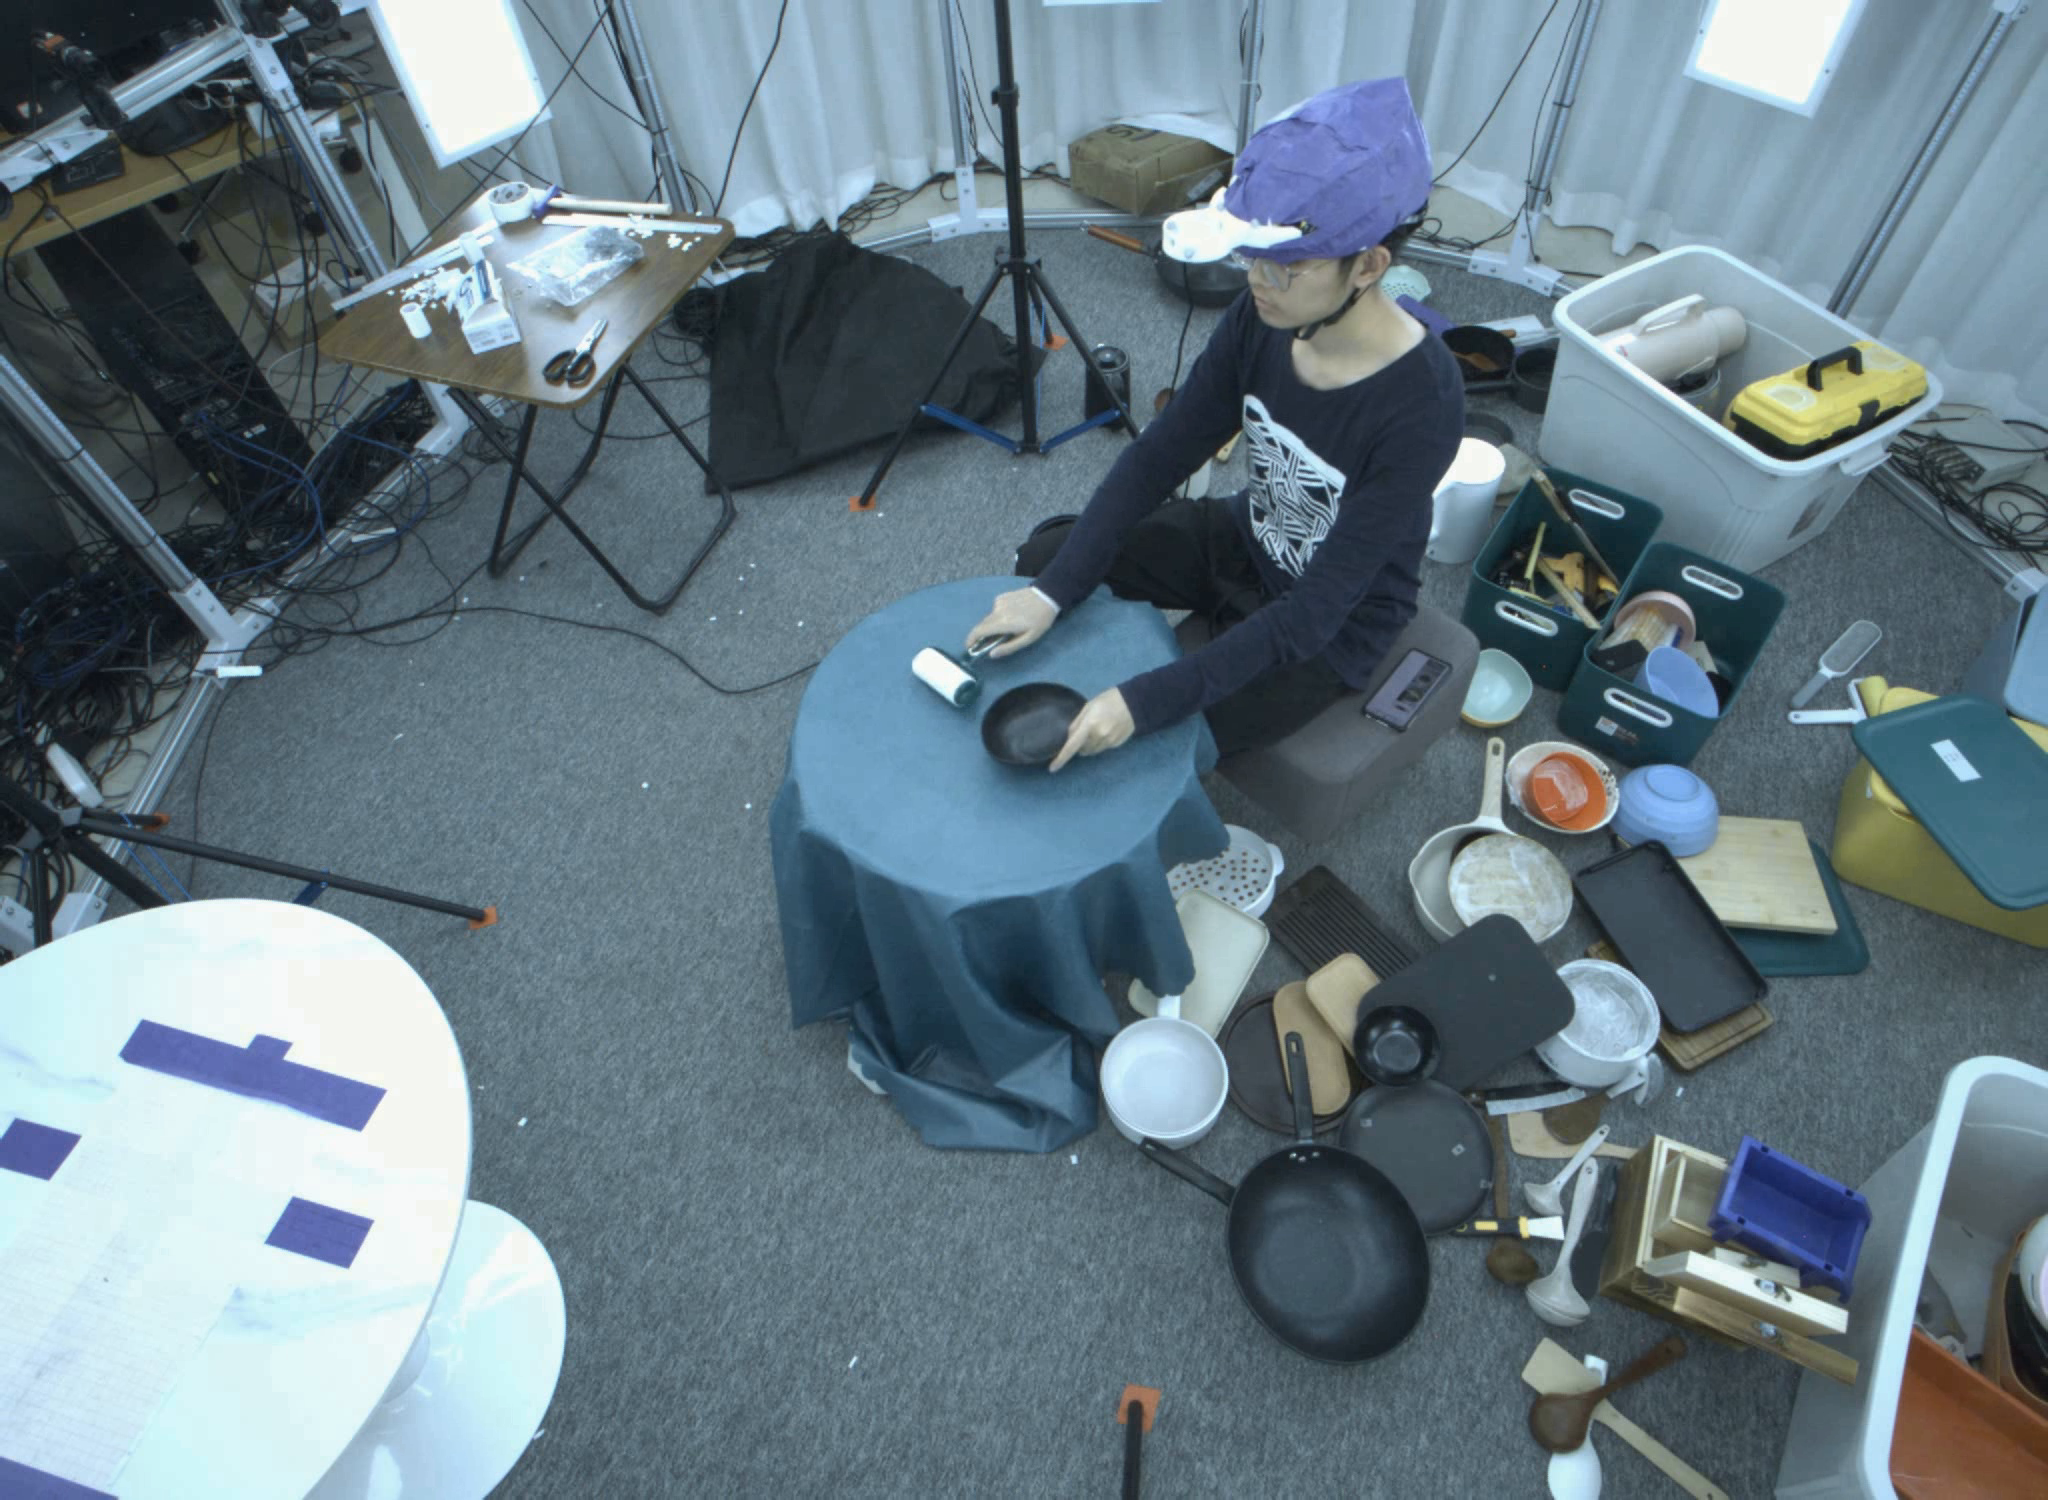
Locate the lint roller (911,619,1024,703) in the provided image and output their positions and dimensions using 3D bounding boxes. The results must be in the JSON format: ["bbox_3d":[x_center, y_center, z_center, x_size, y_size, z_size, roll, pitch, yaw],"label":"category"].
[{"bbox_3d":[-0.072,-0.155,1.858,0.181,0.049,0.131,-42,53,-17],"label":"lint roller"}]

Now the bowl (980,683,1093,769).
[{"bbox_3d":[0.019,-0.026,1.773,0.172,0.067,0.135,-30,59,-20],"label":"bowl"}]
